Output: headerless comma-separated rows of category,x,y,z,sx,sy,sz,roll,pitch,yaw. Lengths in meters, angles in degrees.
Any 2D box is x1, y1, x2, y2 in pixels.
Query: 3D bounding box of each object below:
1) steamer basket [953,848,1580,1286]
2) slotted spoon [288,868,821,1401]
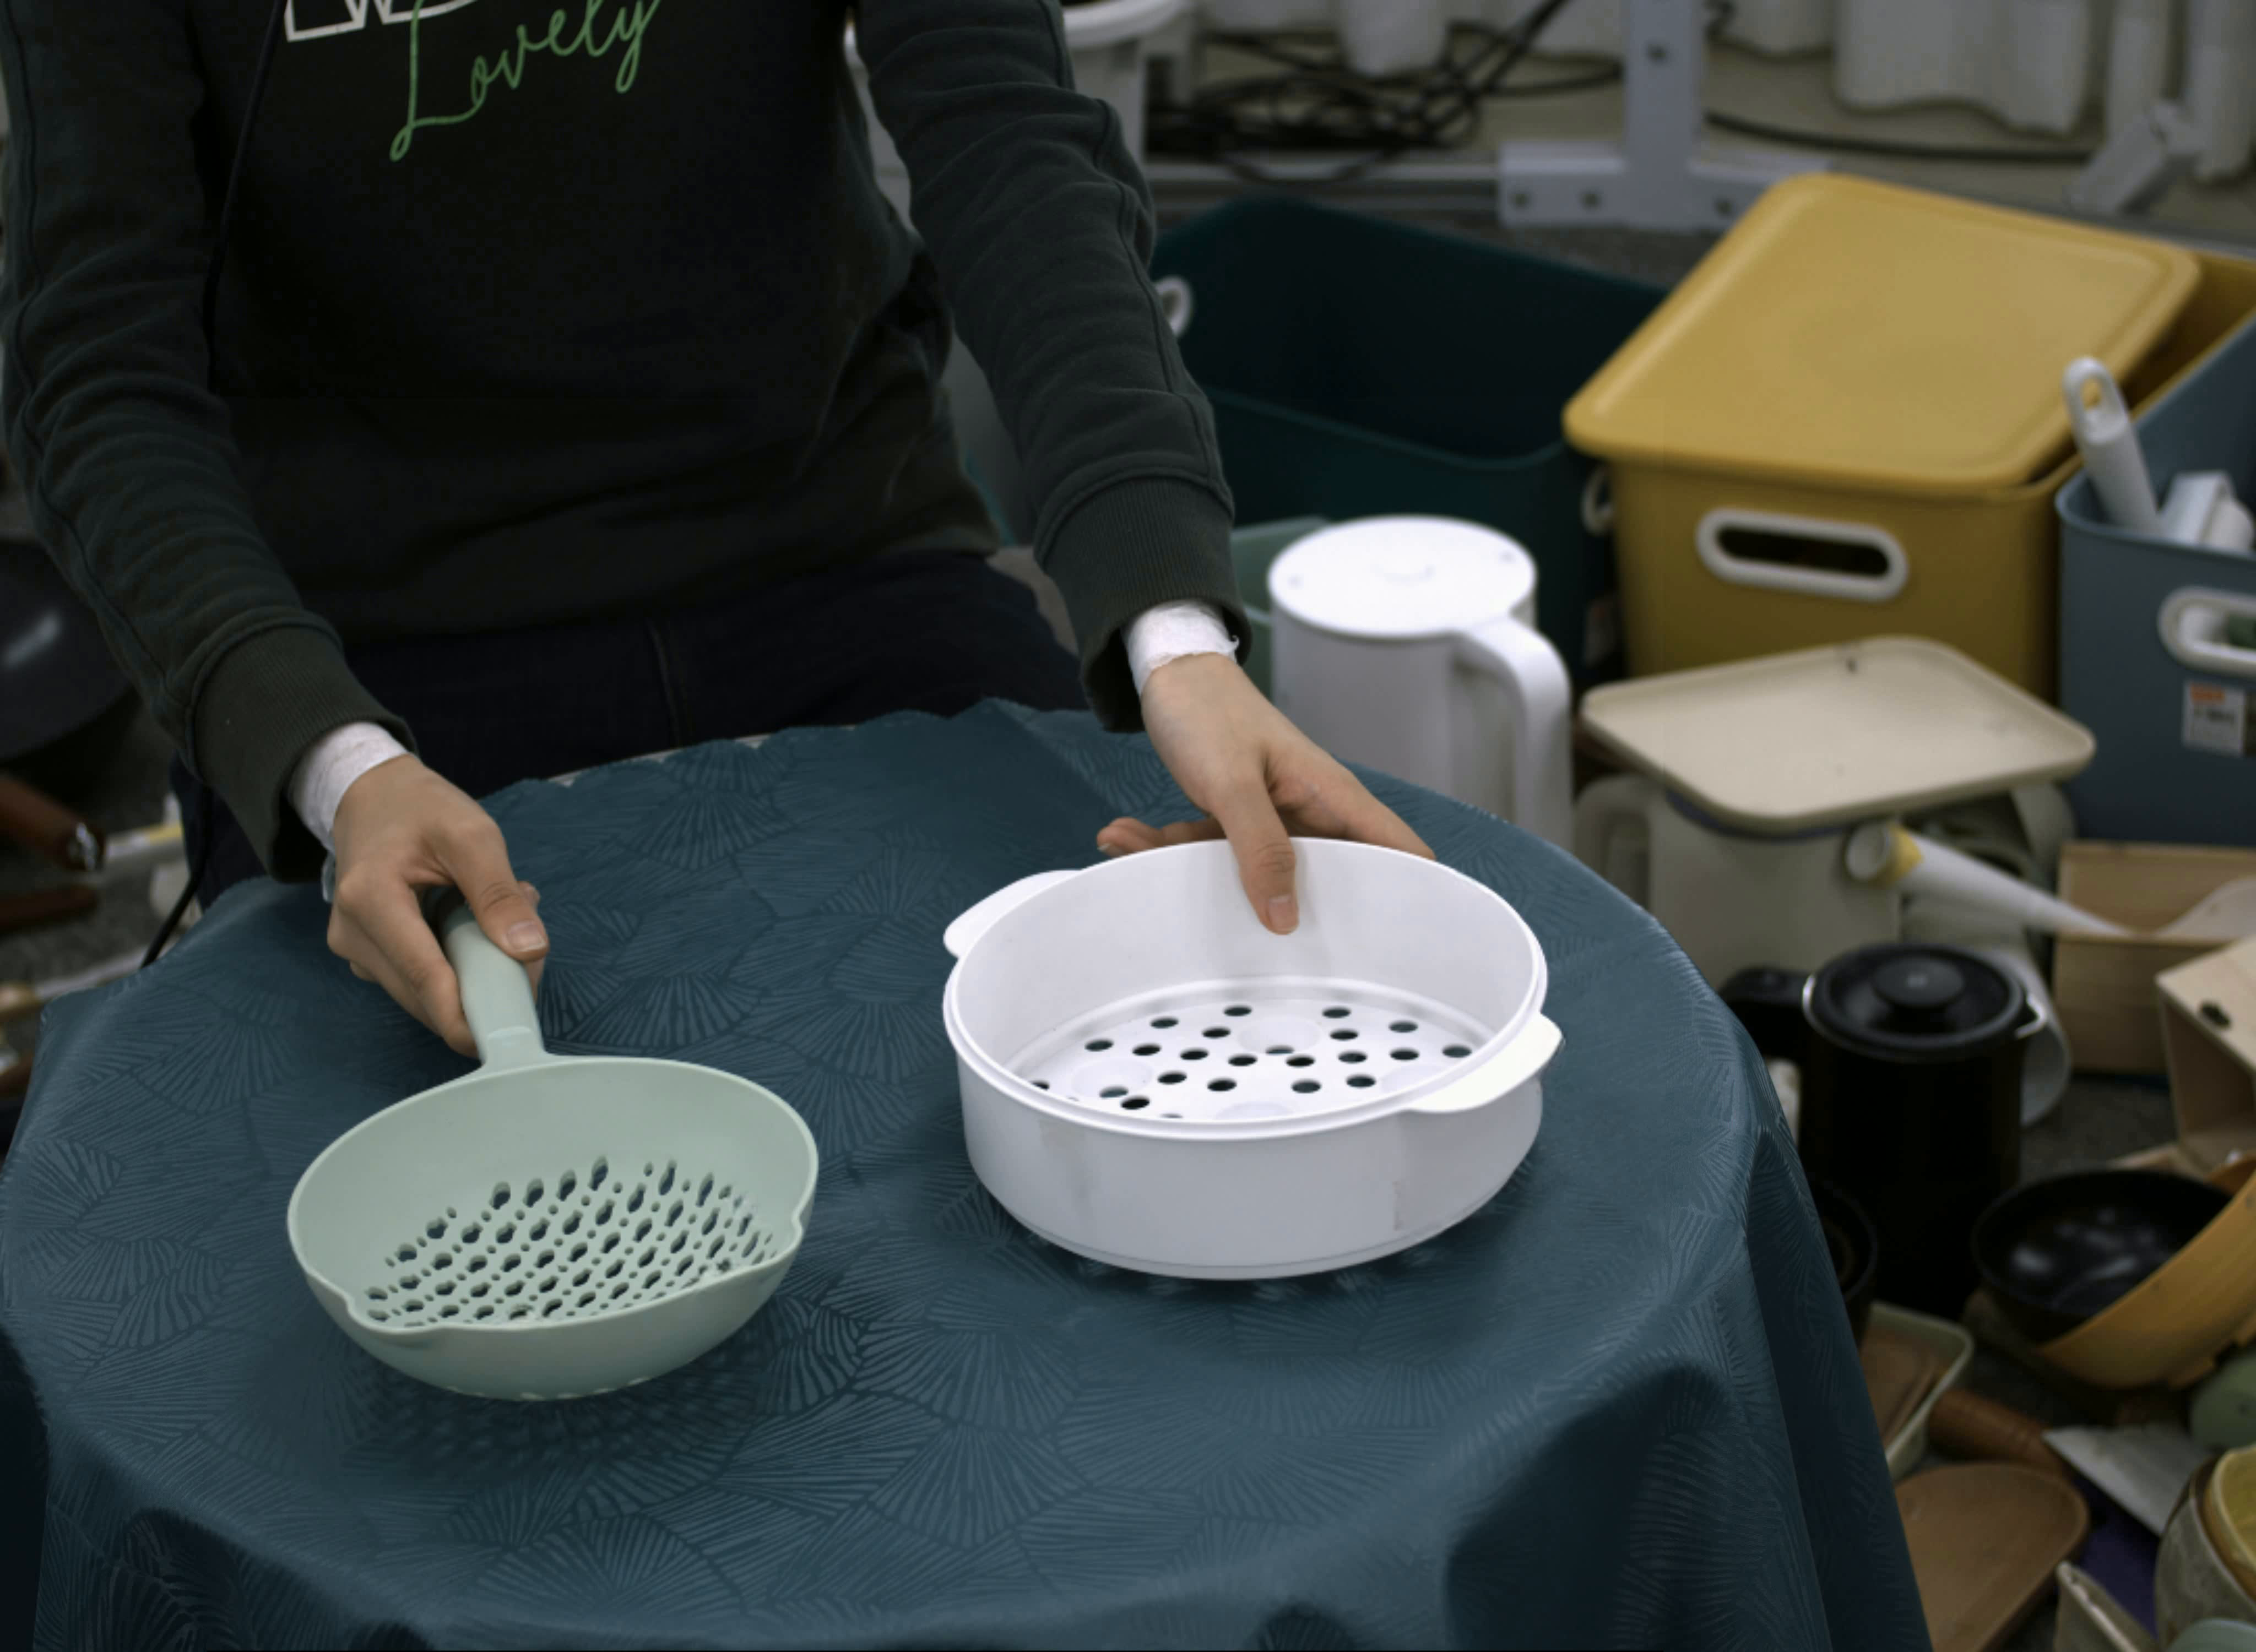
steamer basket,0.045,0.080,1.863,0.229,0.068,0.205,16,32,35
slotted spoon,-0.201,0.086,1.863,0.169,0.074,0.363,-9,33,-10
